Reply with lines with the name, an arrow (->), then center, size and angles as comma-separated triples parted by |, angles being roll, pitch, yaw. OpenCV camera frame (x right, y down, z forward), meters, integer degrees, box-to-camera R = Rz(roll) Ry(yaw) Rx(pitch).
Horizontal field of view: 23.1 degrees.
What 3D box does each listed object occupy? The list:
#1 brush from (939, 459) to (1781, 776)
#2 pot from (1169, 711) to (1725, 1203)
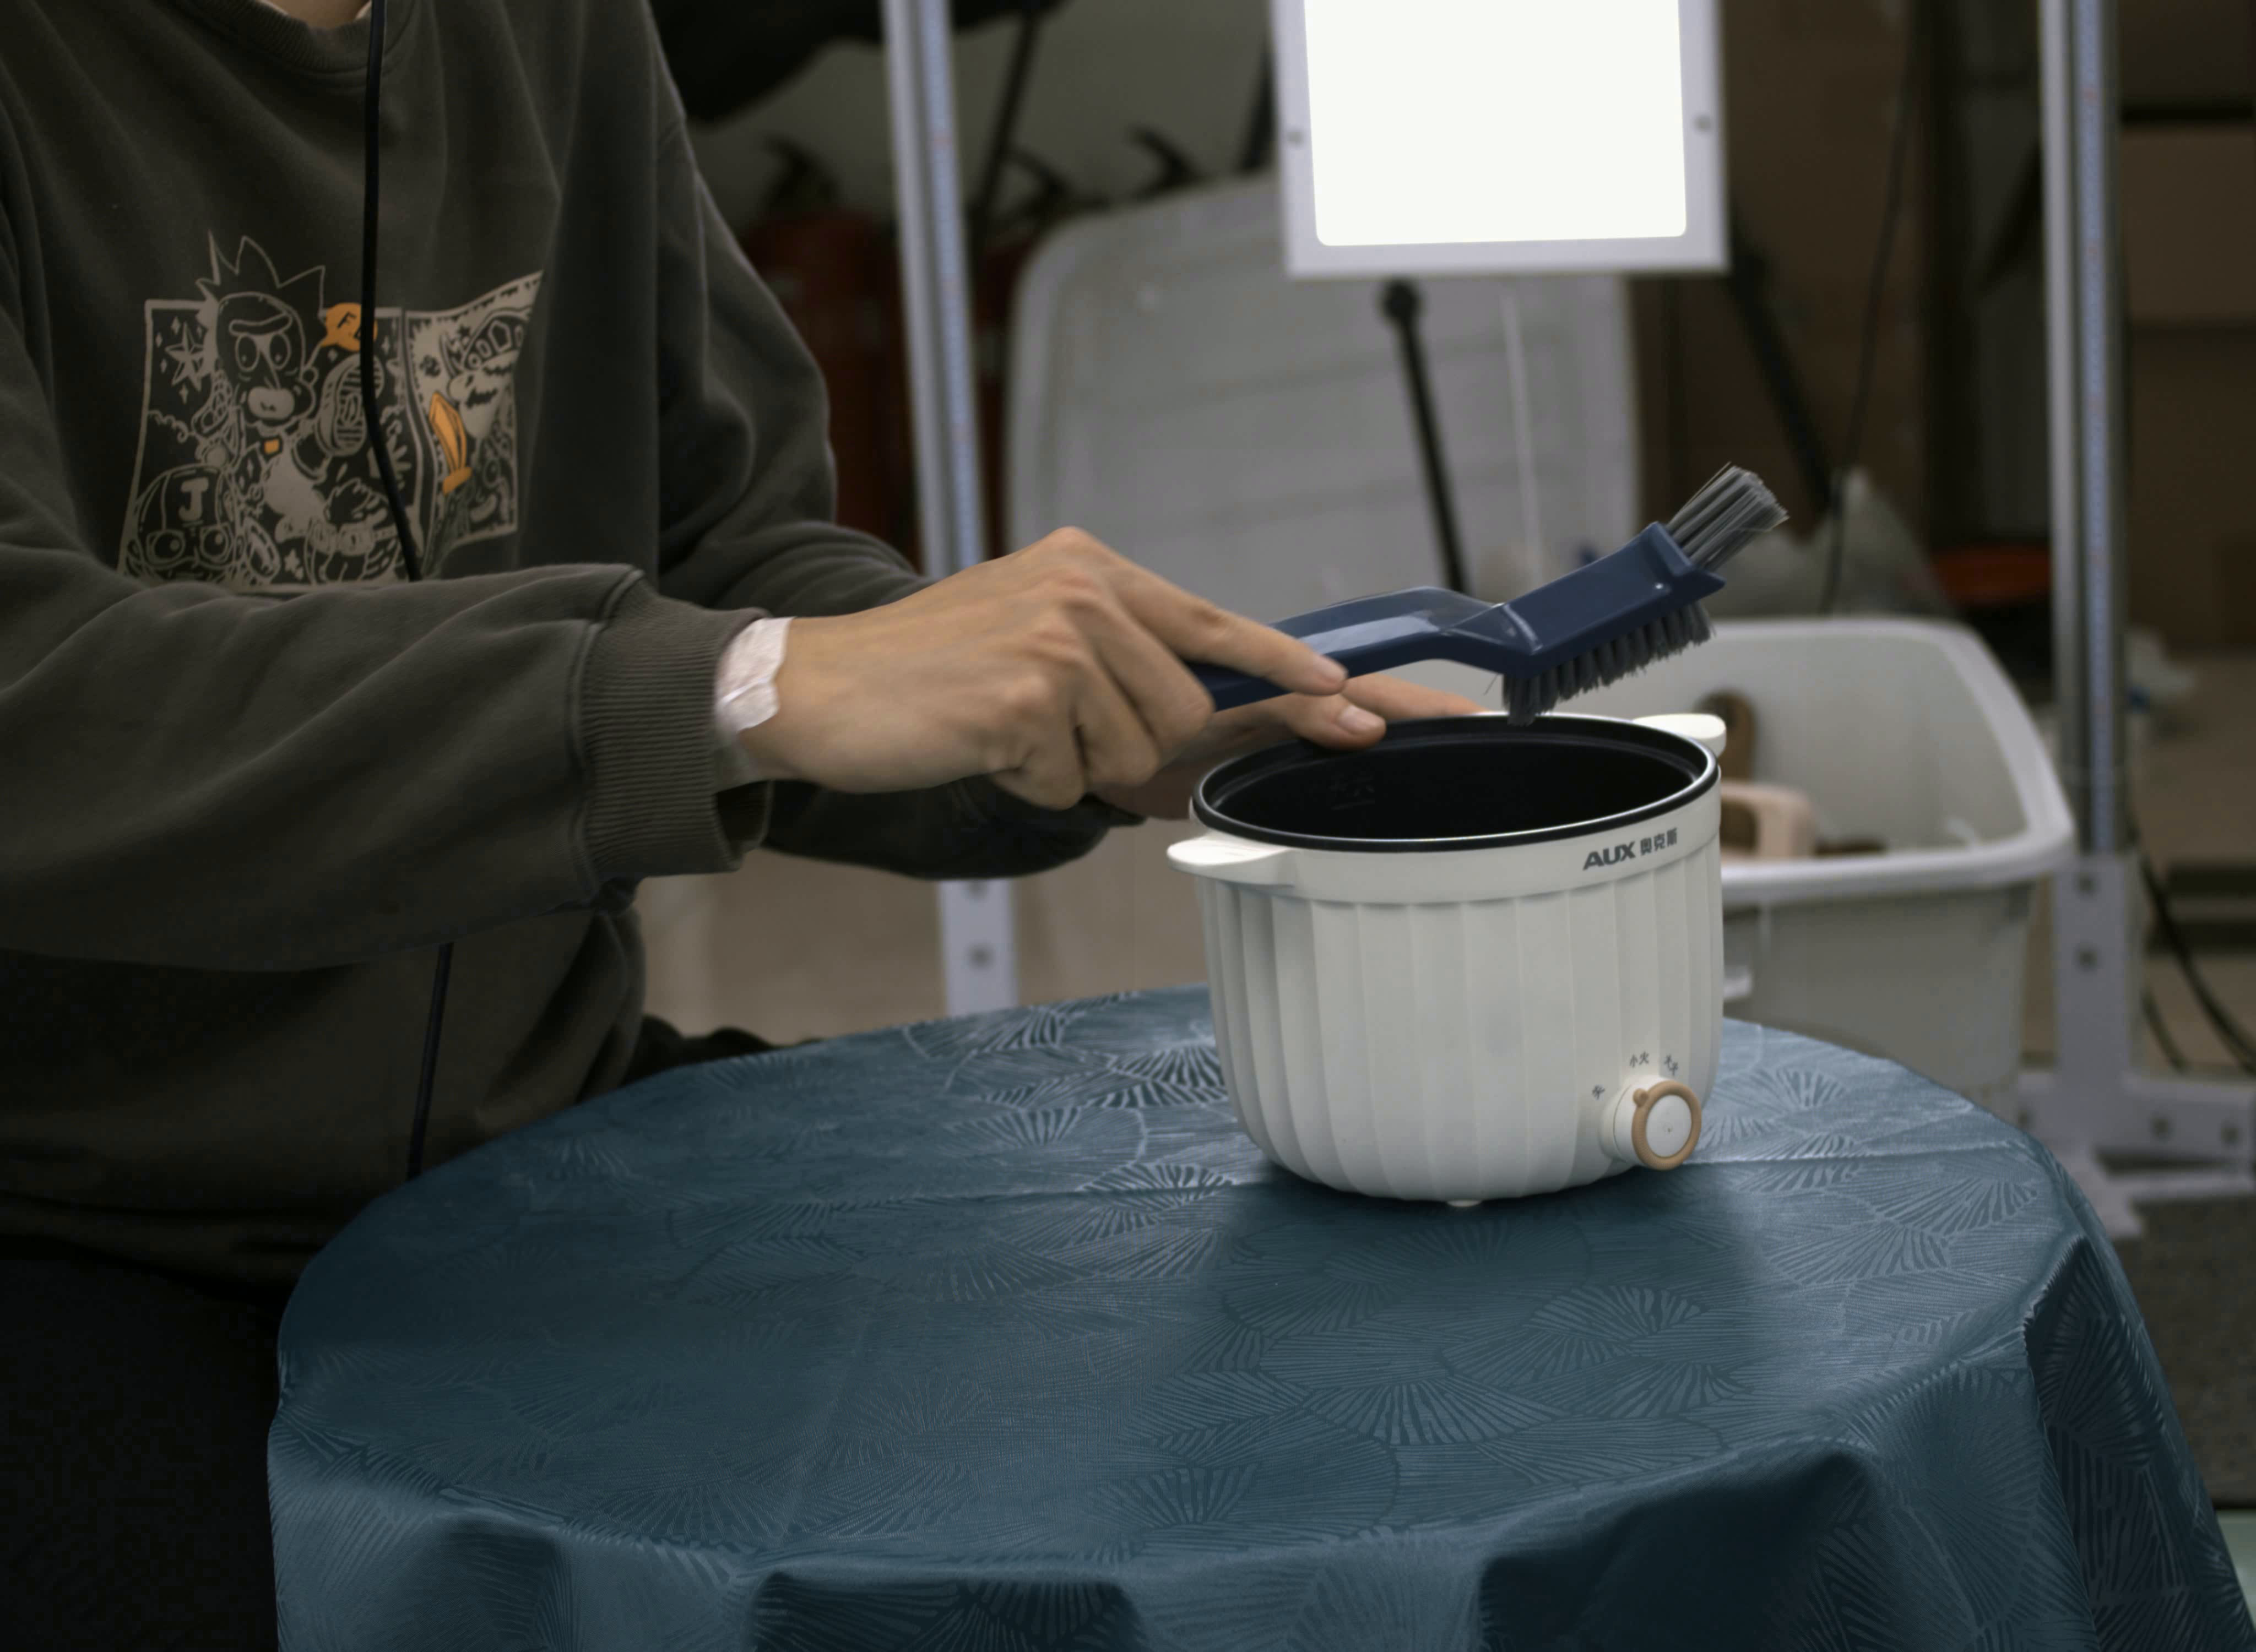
brush -> 0.074, -0.064, 1.715 | 0.267, 0.097, 0.034 | -8, 49, -27
pot -> 0.121, 0.046, 1.887 | 0.234, 0.143, 0.194 | -16, 15, -34
